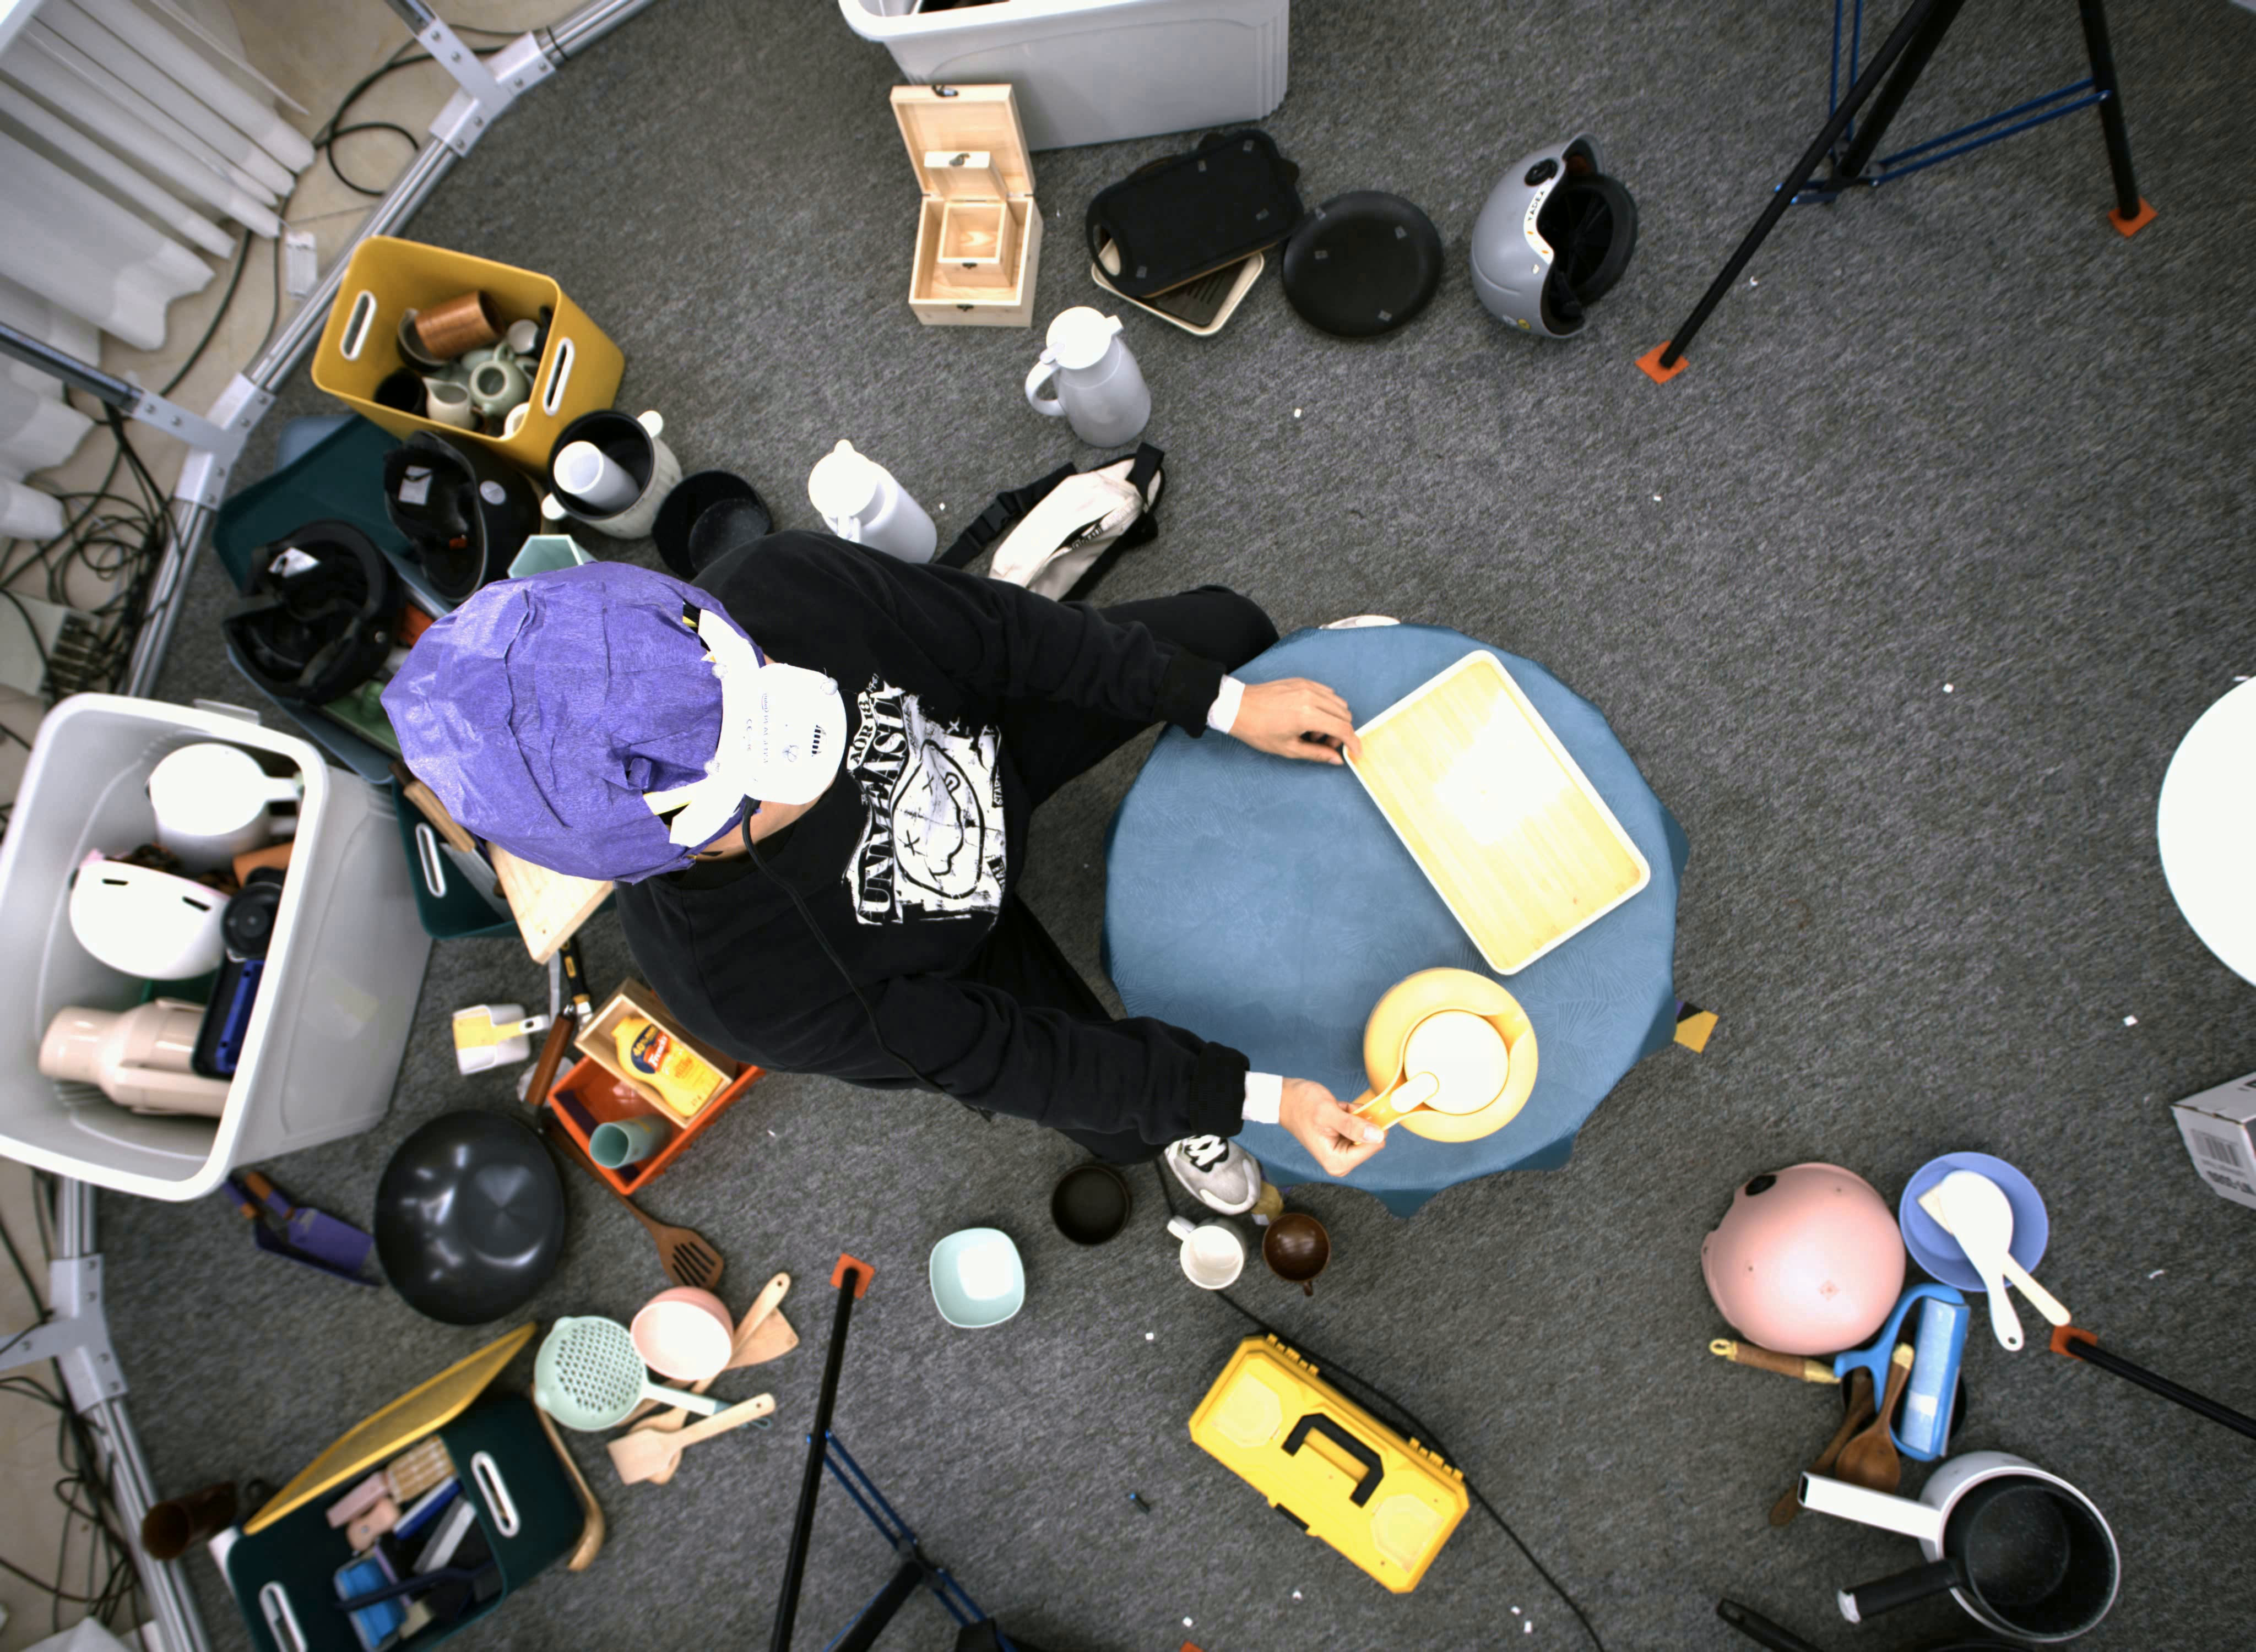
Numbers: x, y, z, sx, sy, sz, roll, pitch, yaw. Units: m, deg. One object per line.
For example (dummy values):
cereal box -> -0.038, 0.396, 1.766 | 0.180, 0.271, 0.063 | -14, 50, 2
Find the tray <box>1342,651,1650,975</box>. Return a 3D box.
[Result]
tray -> 0.380, -0.016, 1.431 | 0.192, 0.027, 0.298 | -34, 81, 7

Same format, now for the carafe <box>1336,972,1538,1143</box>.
carafe -> 0.289, 0.227, 1.317 | 0.203, 0.261, 0.162 | -33, 78, 5
